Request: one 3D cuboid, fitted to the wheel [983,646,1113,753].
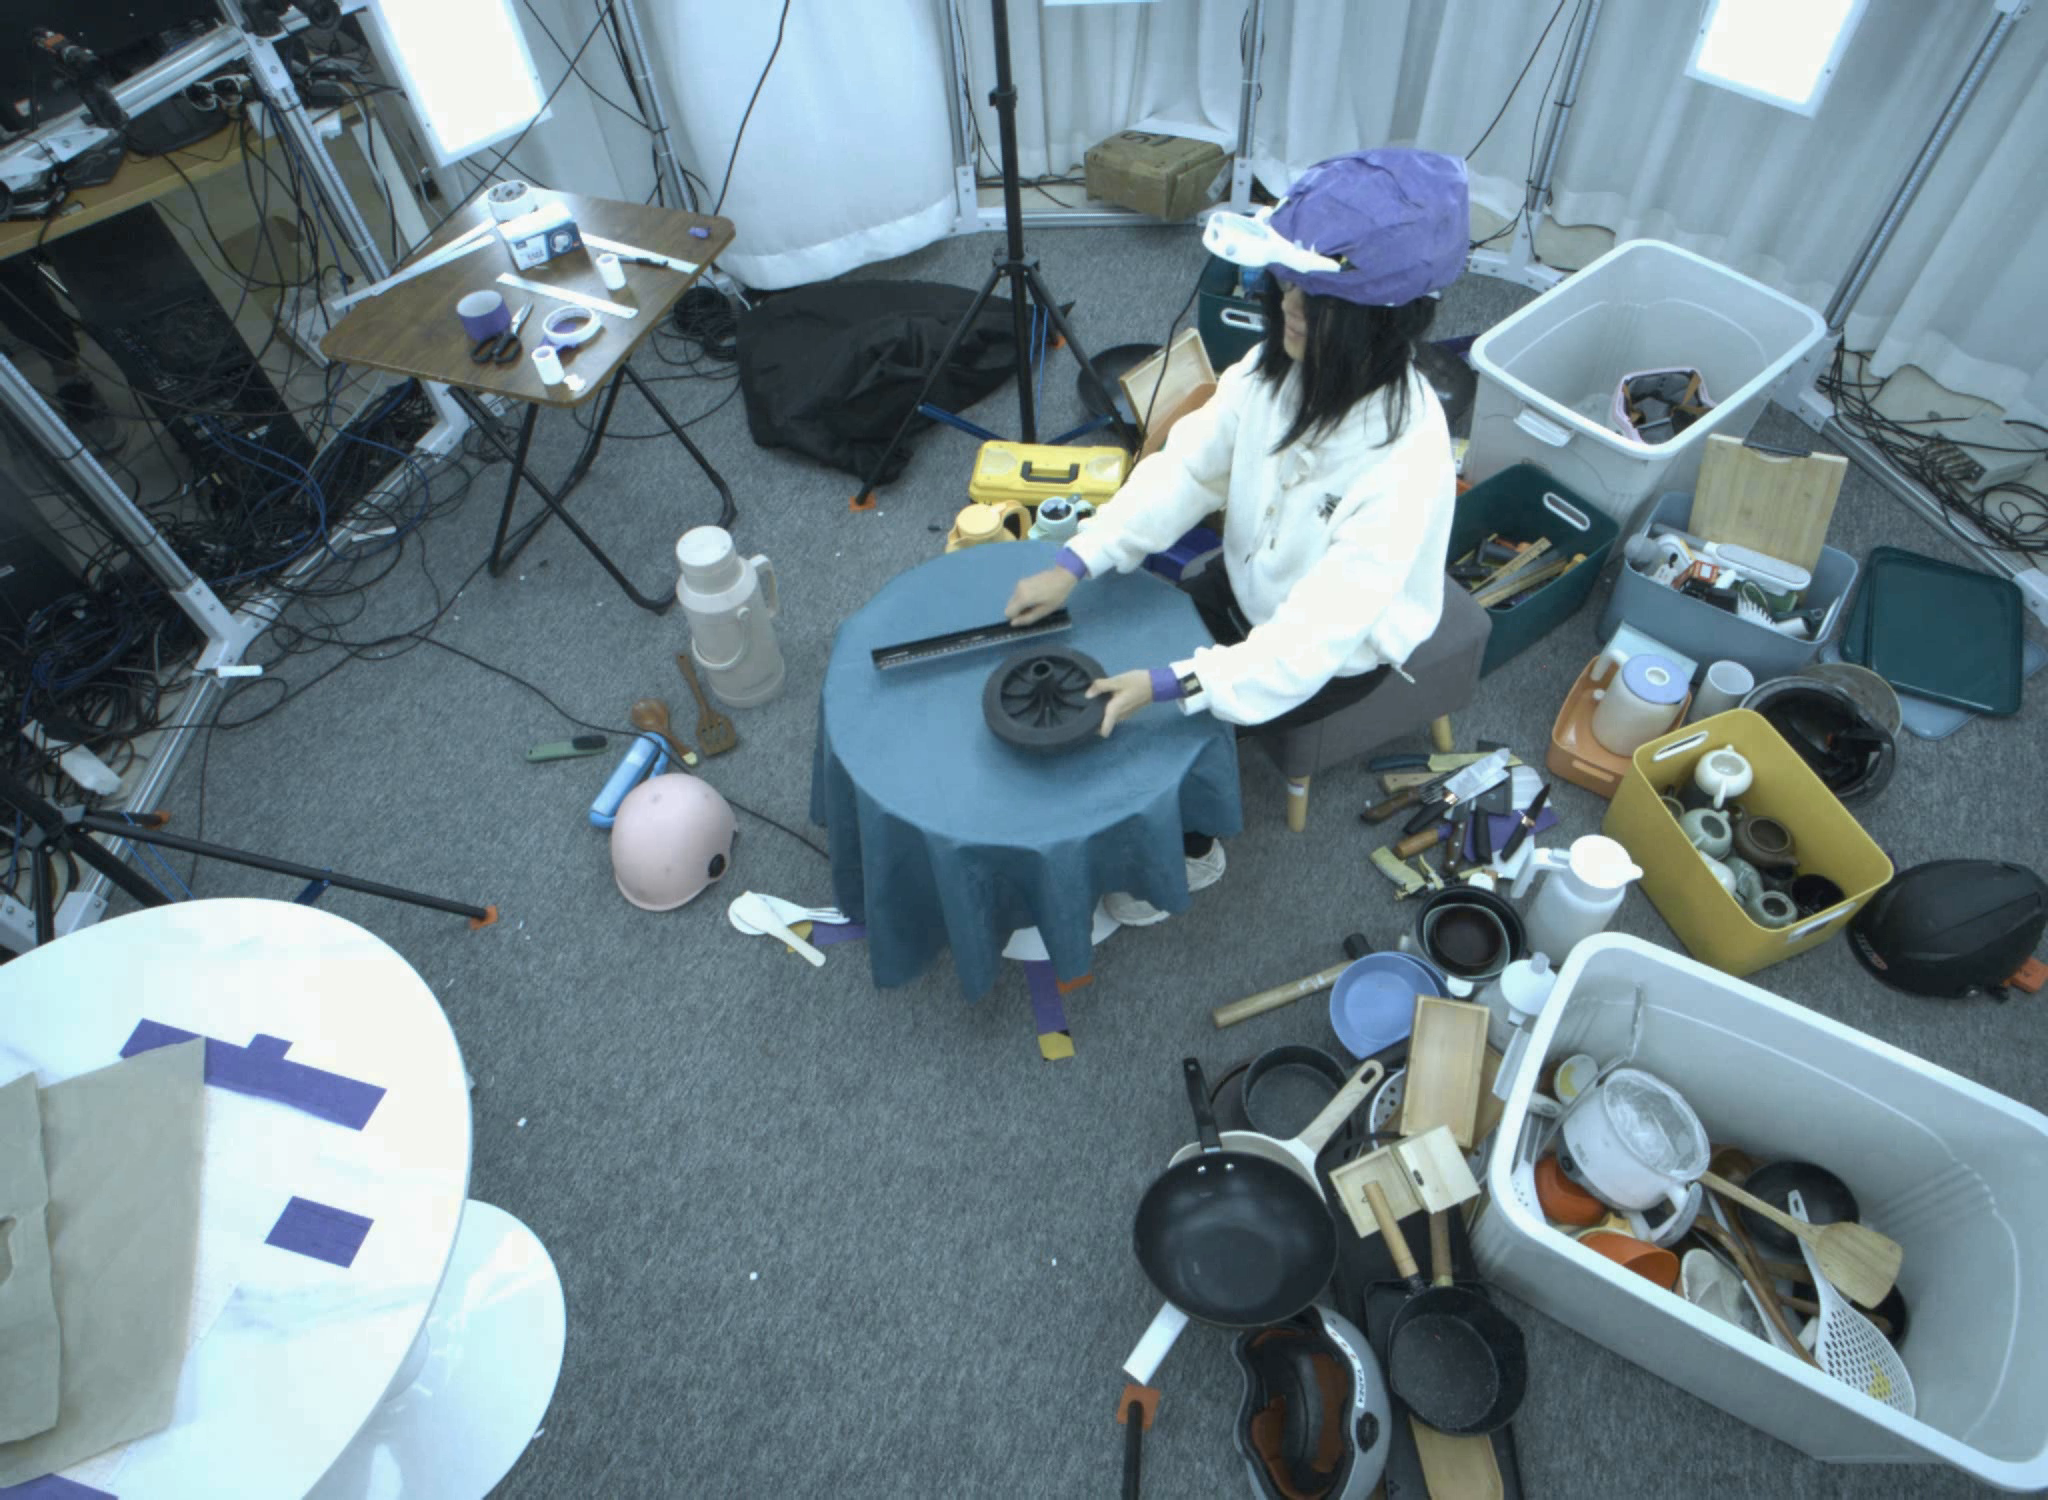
[{"bbox_3d":[0.032,-0.088,1.756,0.188,0.080,0.186,-24,54,-10],"label":"wheel"}]

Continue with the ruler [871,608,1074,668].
[{"bbox_3d":[-0.078,-0.172,1.869,0.314,0.017,0.038,-12,51,-9],"label":"ruler"}]
